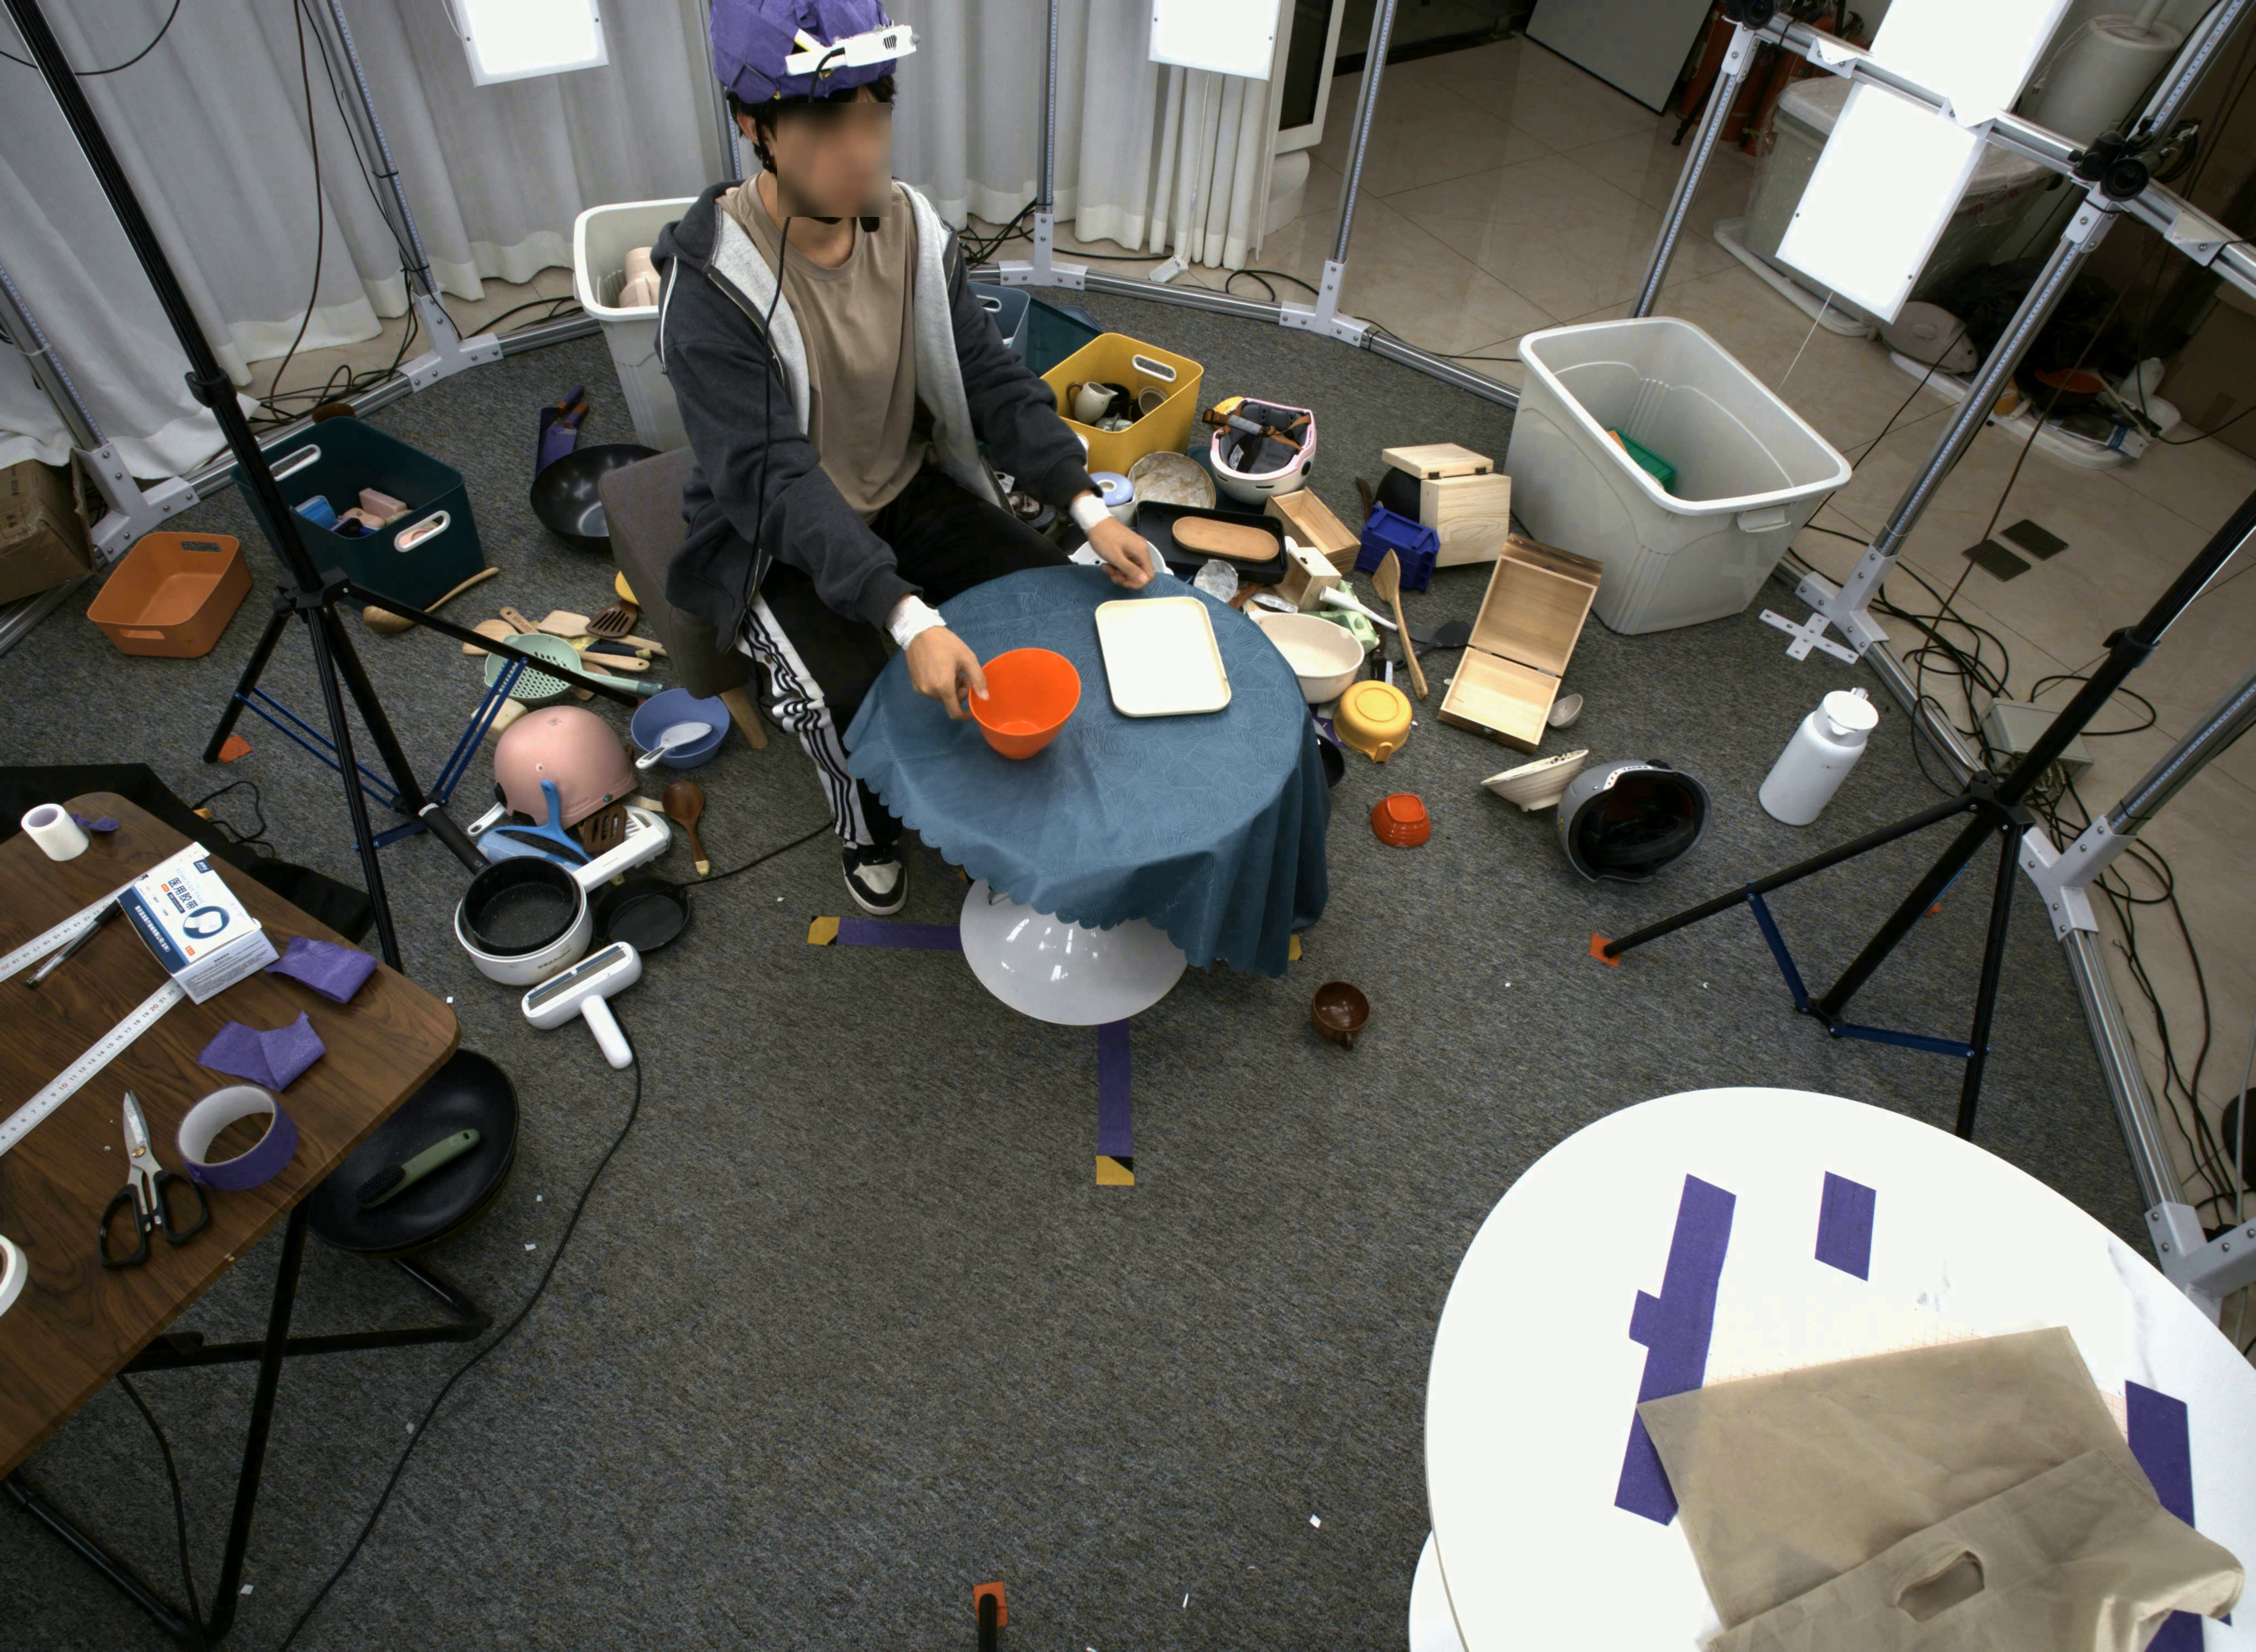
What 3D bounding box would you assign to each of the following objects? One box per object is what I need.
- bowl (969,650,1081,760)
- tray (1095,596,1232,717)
[{"bbox_3d":[-0.139,-0.152,1.723,0.148,0.102,0.152,3,49,-3],"label":"bowl"},{"bbox_3d":[0.049,-0.248,1.874,0.171,0.017,0.246,-5,50,-7],"label":"tray"}]
